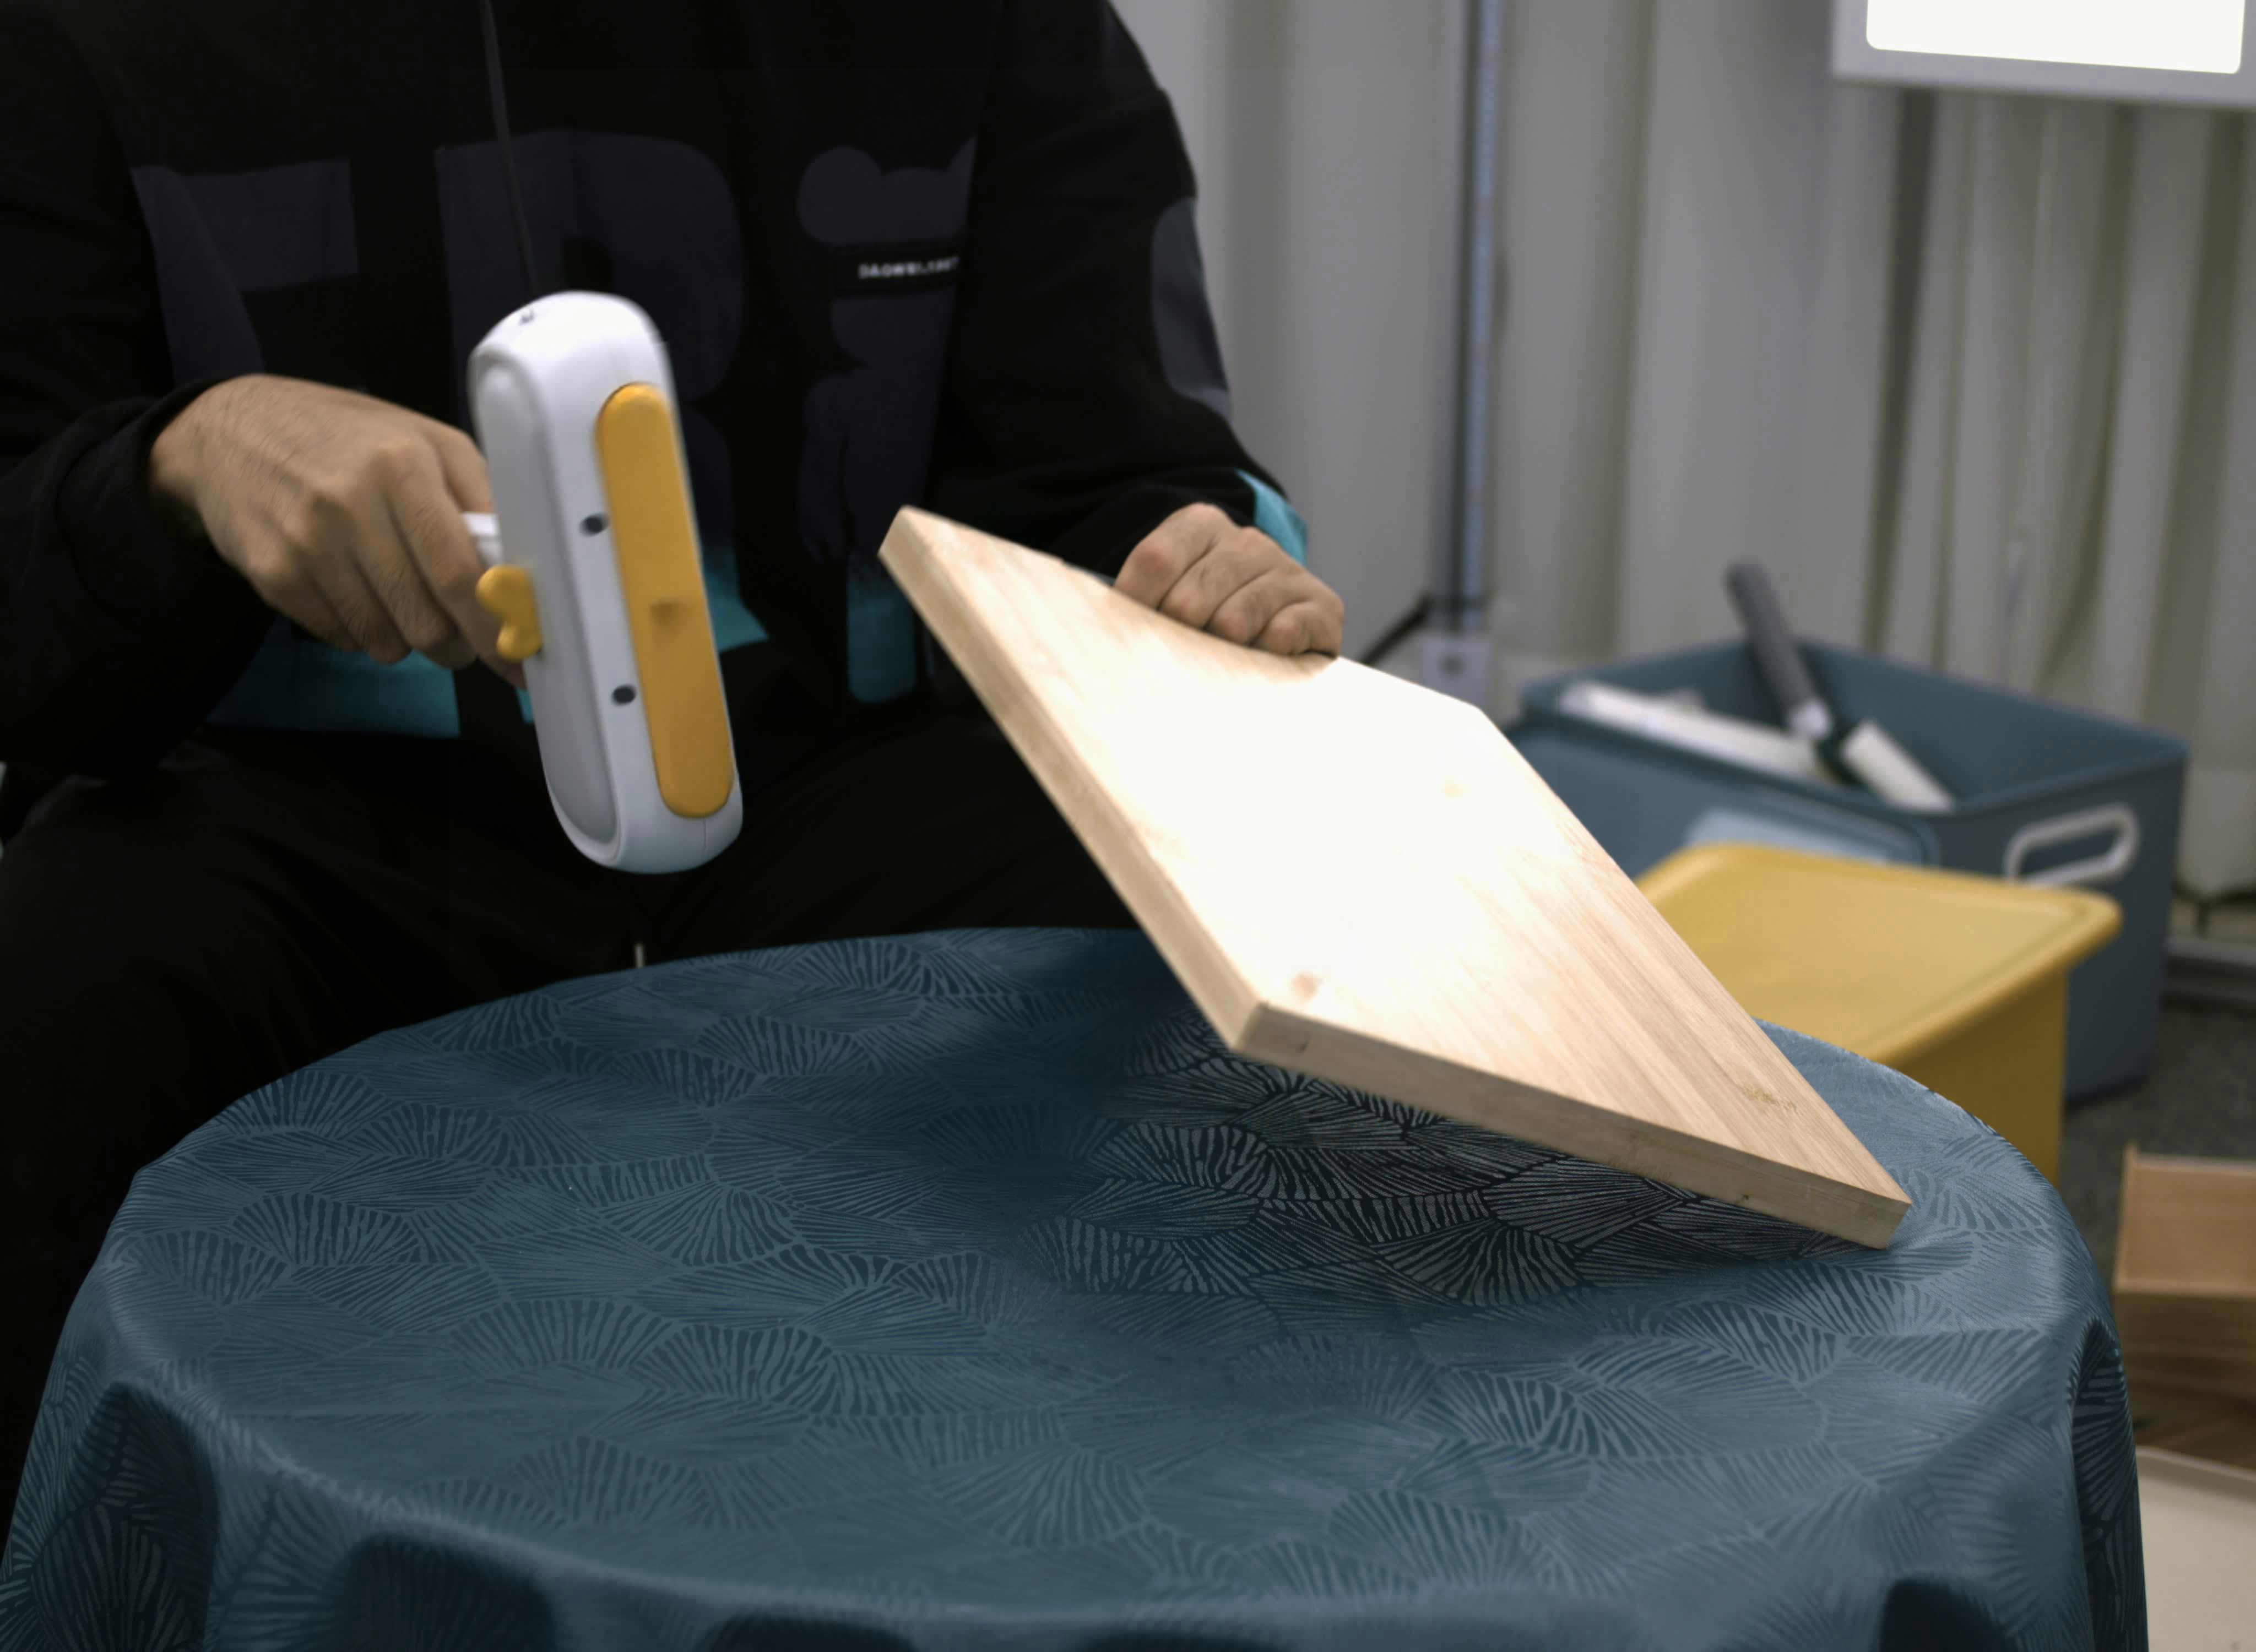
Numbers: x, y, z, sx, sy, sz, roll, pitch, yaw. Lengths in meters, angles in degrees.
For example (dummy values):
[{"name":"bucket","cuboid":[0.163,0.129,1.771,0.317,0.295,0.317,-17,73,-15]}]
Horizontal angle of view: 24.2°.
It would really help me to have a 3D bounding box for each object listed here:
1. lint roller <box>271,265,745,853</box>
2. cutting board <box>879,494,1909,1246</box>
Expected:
[{"name":"lint roller","cuboid":[-0.210,-0.087,1.735,0.074,0.195,0.190,-27,23,-36]},{"name":"cutting board","cuboid":[0.075,0.008,1.656,0.253,0.023,0.344,19,19,-30]}]
